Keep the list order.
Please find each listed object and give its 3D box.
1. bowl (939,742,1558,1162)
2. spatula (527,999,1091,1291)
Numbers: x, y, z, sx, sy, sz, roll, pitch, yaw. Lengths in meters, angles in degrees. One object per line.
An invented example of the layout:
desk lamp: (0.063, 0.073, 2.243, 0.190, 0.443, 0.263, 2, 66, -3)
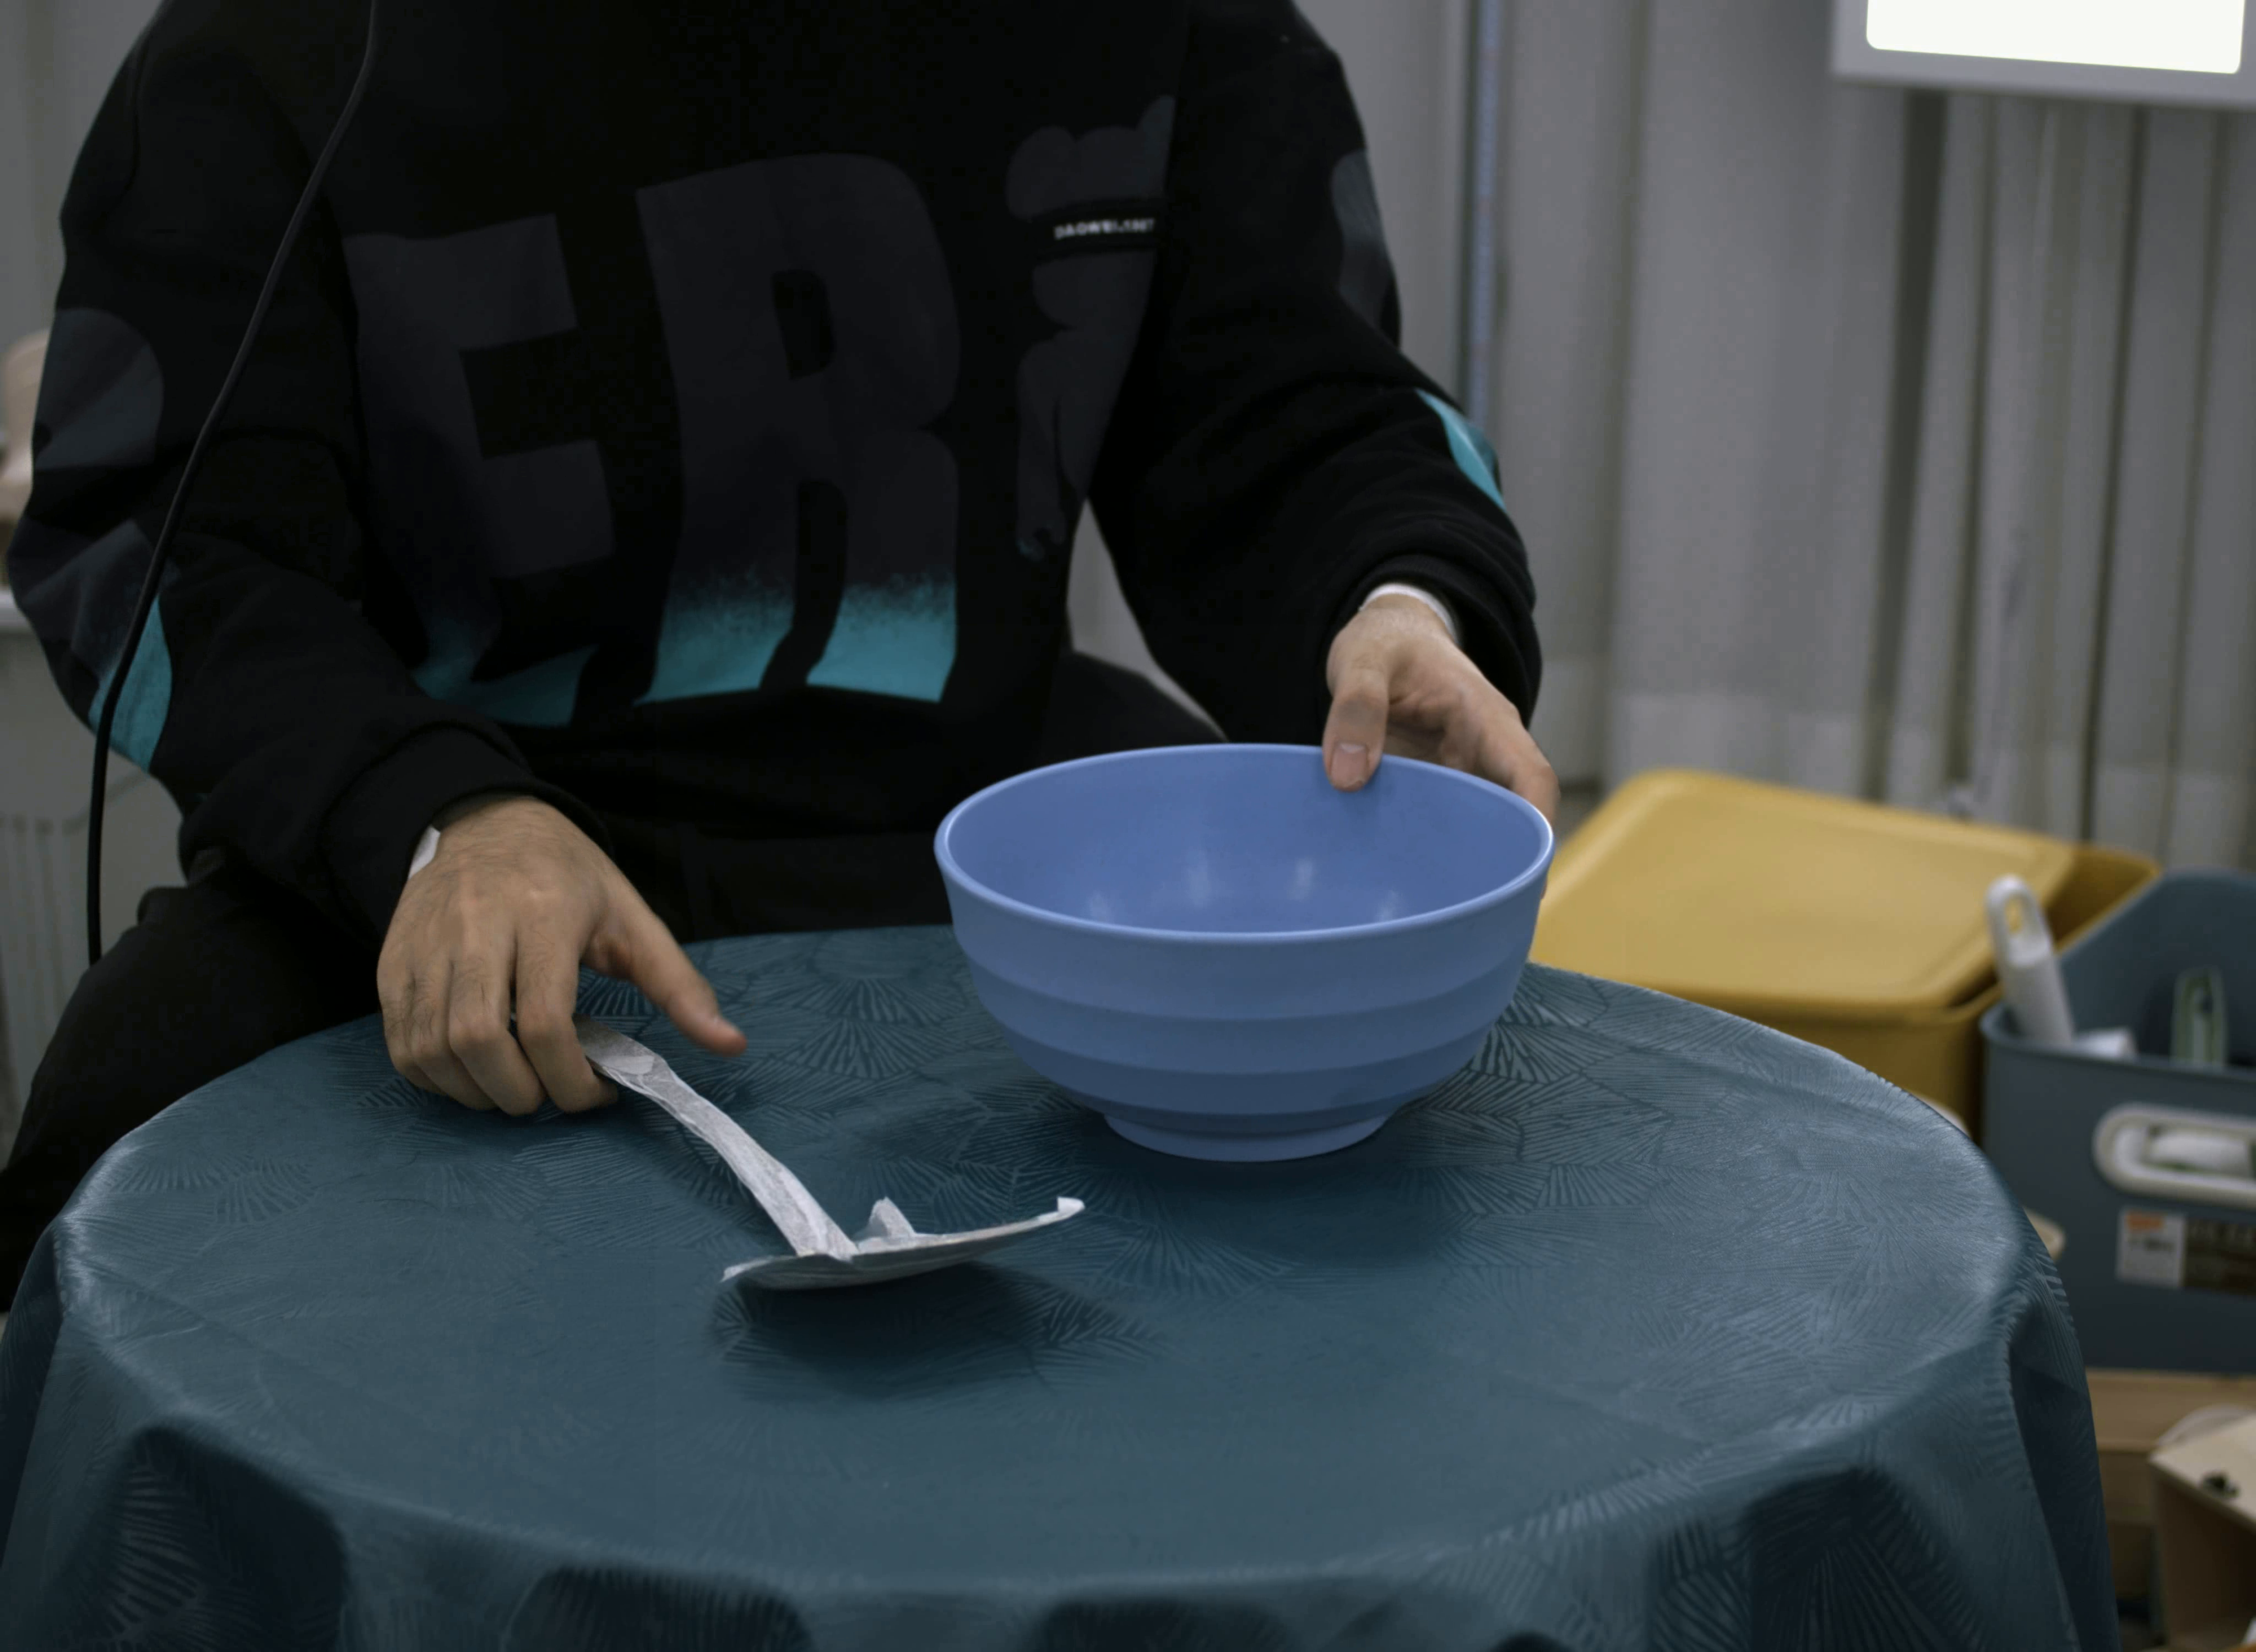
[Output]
bowl: (0.038, 0.047, 1.680, 0.196, 0.096, 0.195, 0, 19, 1)
spatula: (-0.125, 0.089, 1.633, 0.099, 0.045, 0.360, -9, 19, -25)
